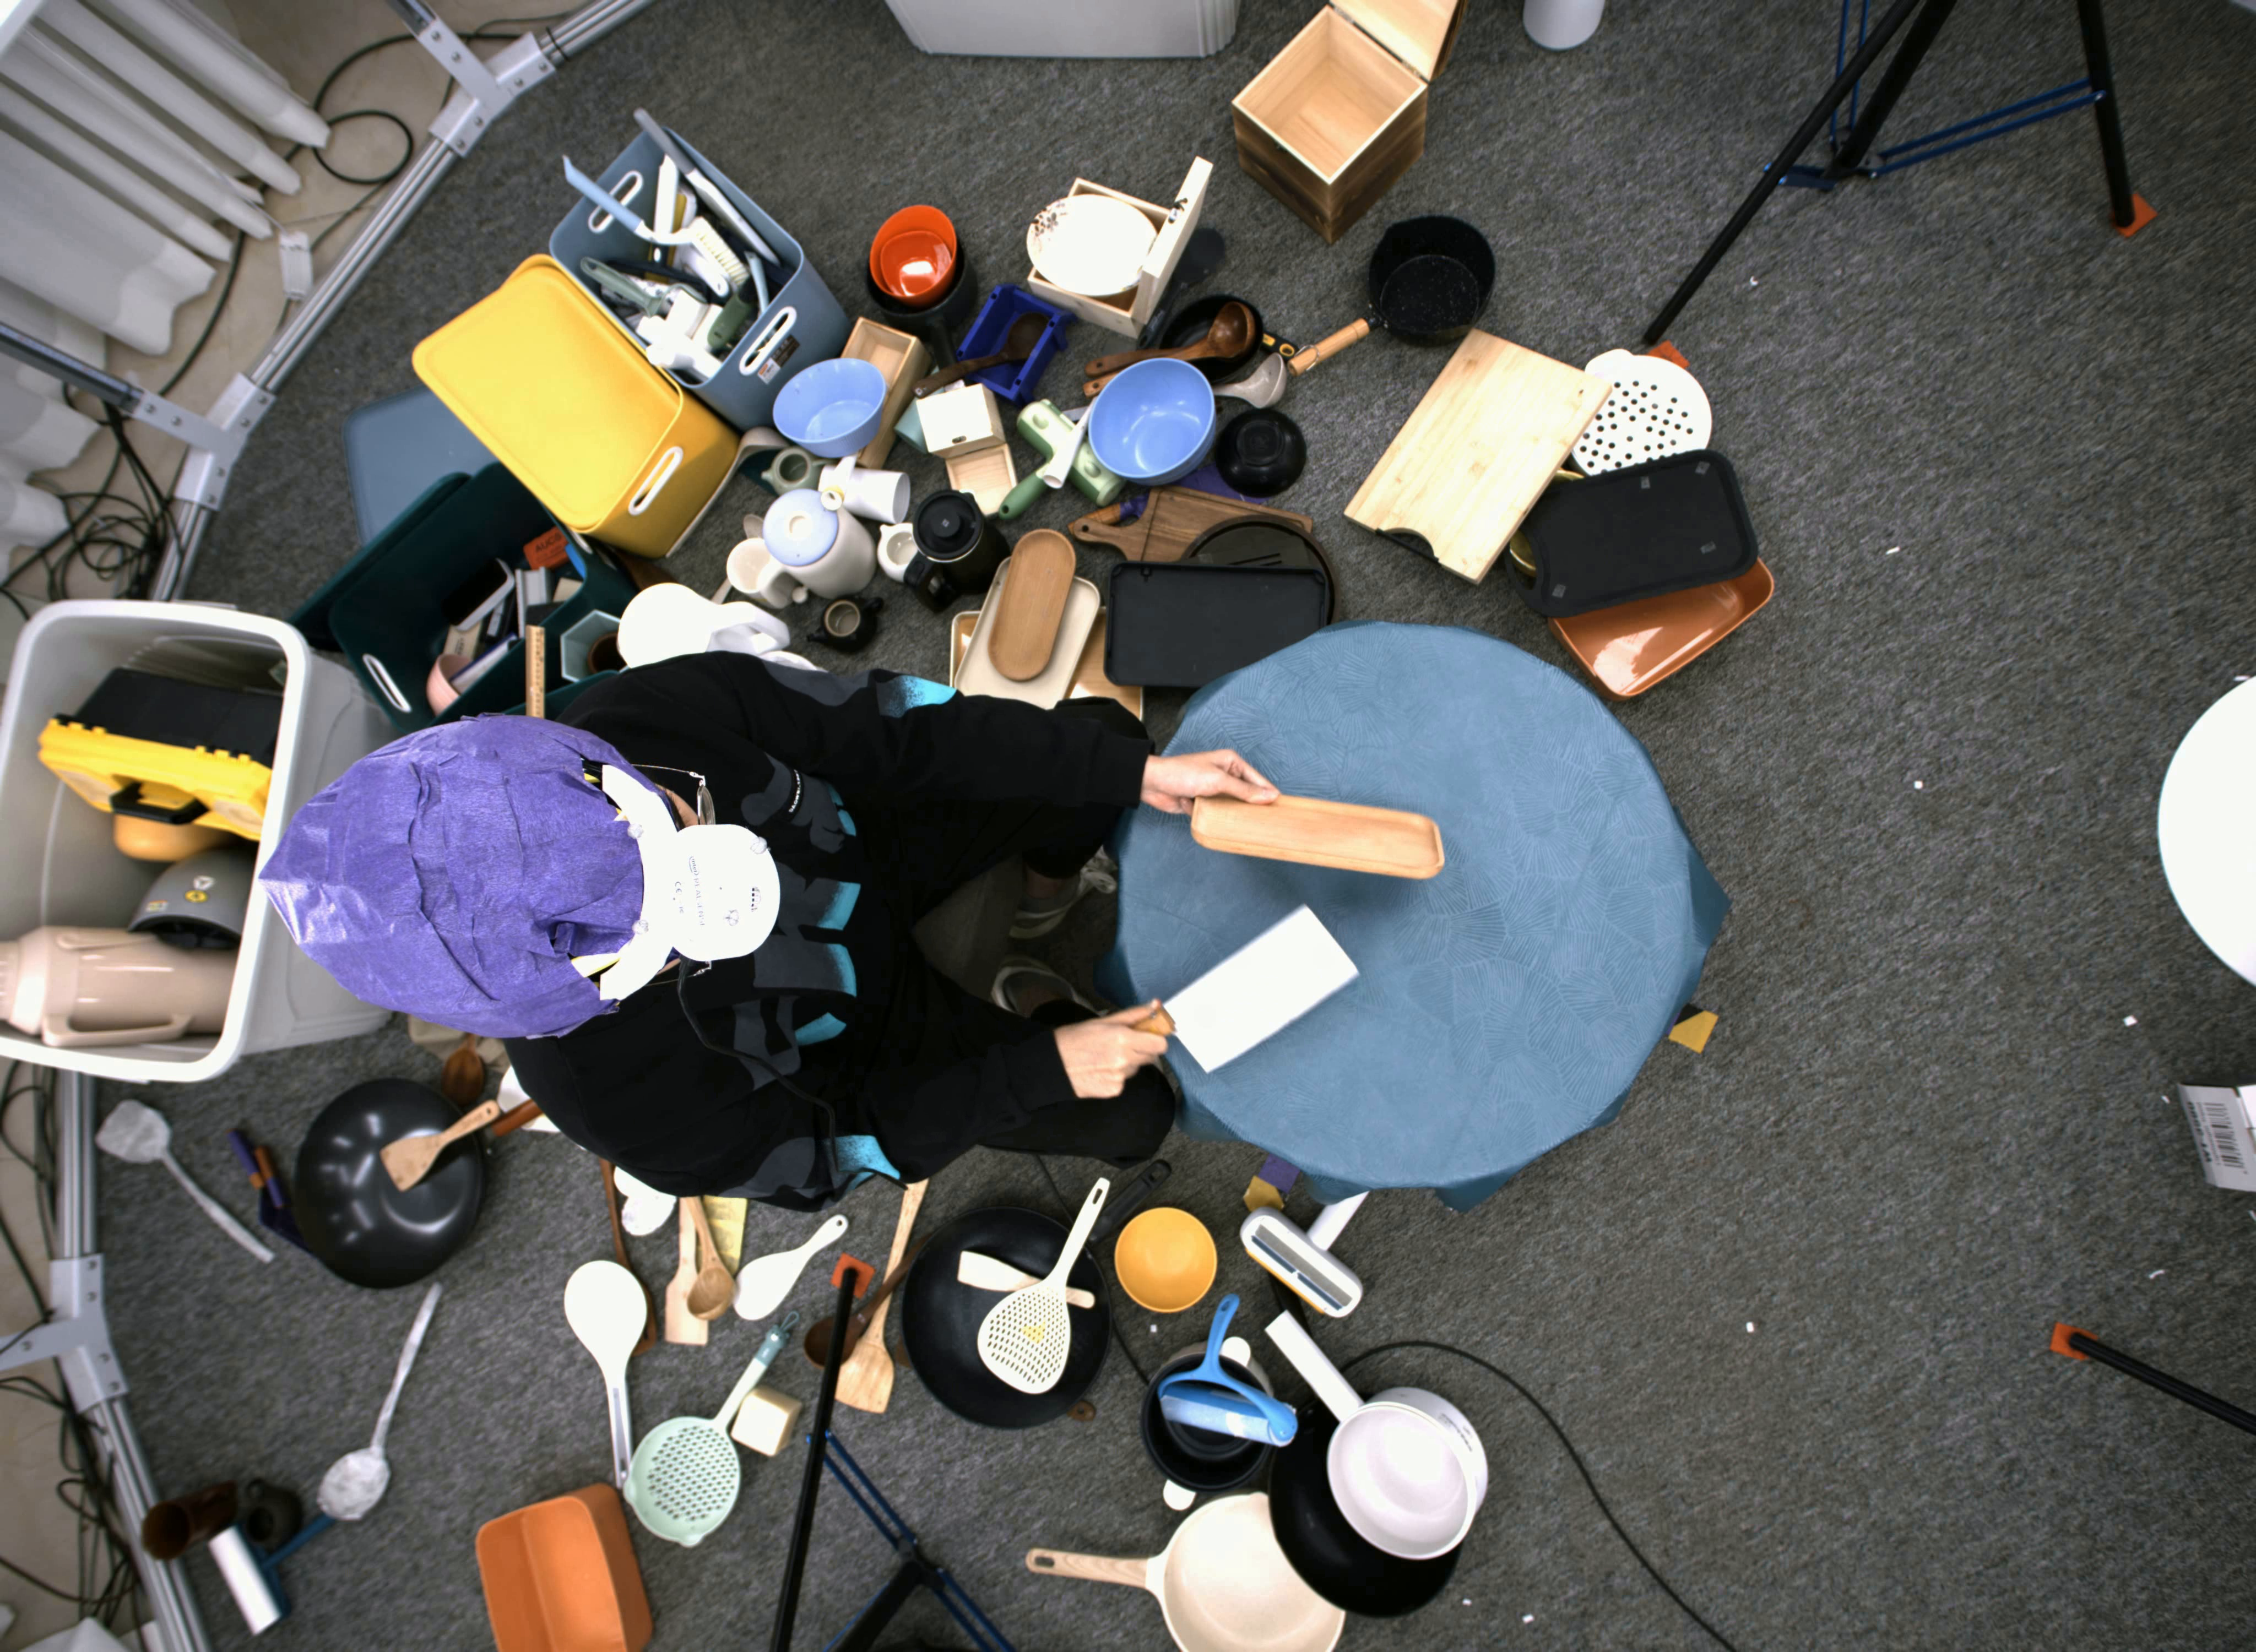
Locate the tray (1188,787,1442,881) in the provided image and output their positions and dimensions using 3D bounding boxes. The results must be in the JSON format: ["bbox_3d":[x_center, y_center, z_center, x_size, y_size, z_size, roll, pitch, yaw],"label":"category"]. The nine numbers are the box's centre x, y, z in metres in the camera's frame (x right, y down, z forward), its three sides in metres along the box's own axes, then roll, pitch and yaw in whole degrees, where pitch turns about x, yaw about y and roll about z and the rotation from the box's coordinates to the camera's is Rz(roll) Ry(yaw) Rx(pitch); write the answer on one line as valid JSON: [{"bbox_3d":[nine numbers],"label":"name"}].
[{"bbox_3d":[0.187,0.006,1.384,0.251,0.128,0.023,8,114,6],"label":"tray"}]

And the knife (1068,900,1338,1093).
[{"bbox_3d":[0.079,0.191,1.409,0.309,0.020,0.093,-38,106,15],"label":"knife"}]
